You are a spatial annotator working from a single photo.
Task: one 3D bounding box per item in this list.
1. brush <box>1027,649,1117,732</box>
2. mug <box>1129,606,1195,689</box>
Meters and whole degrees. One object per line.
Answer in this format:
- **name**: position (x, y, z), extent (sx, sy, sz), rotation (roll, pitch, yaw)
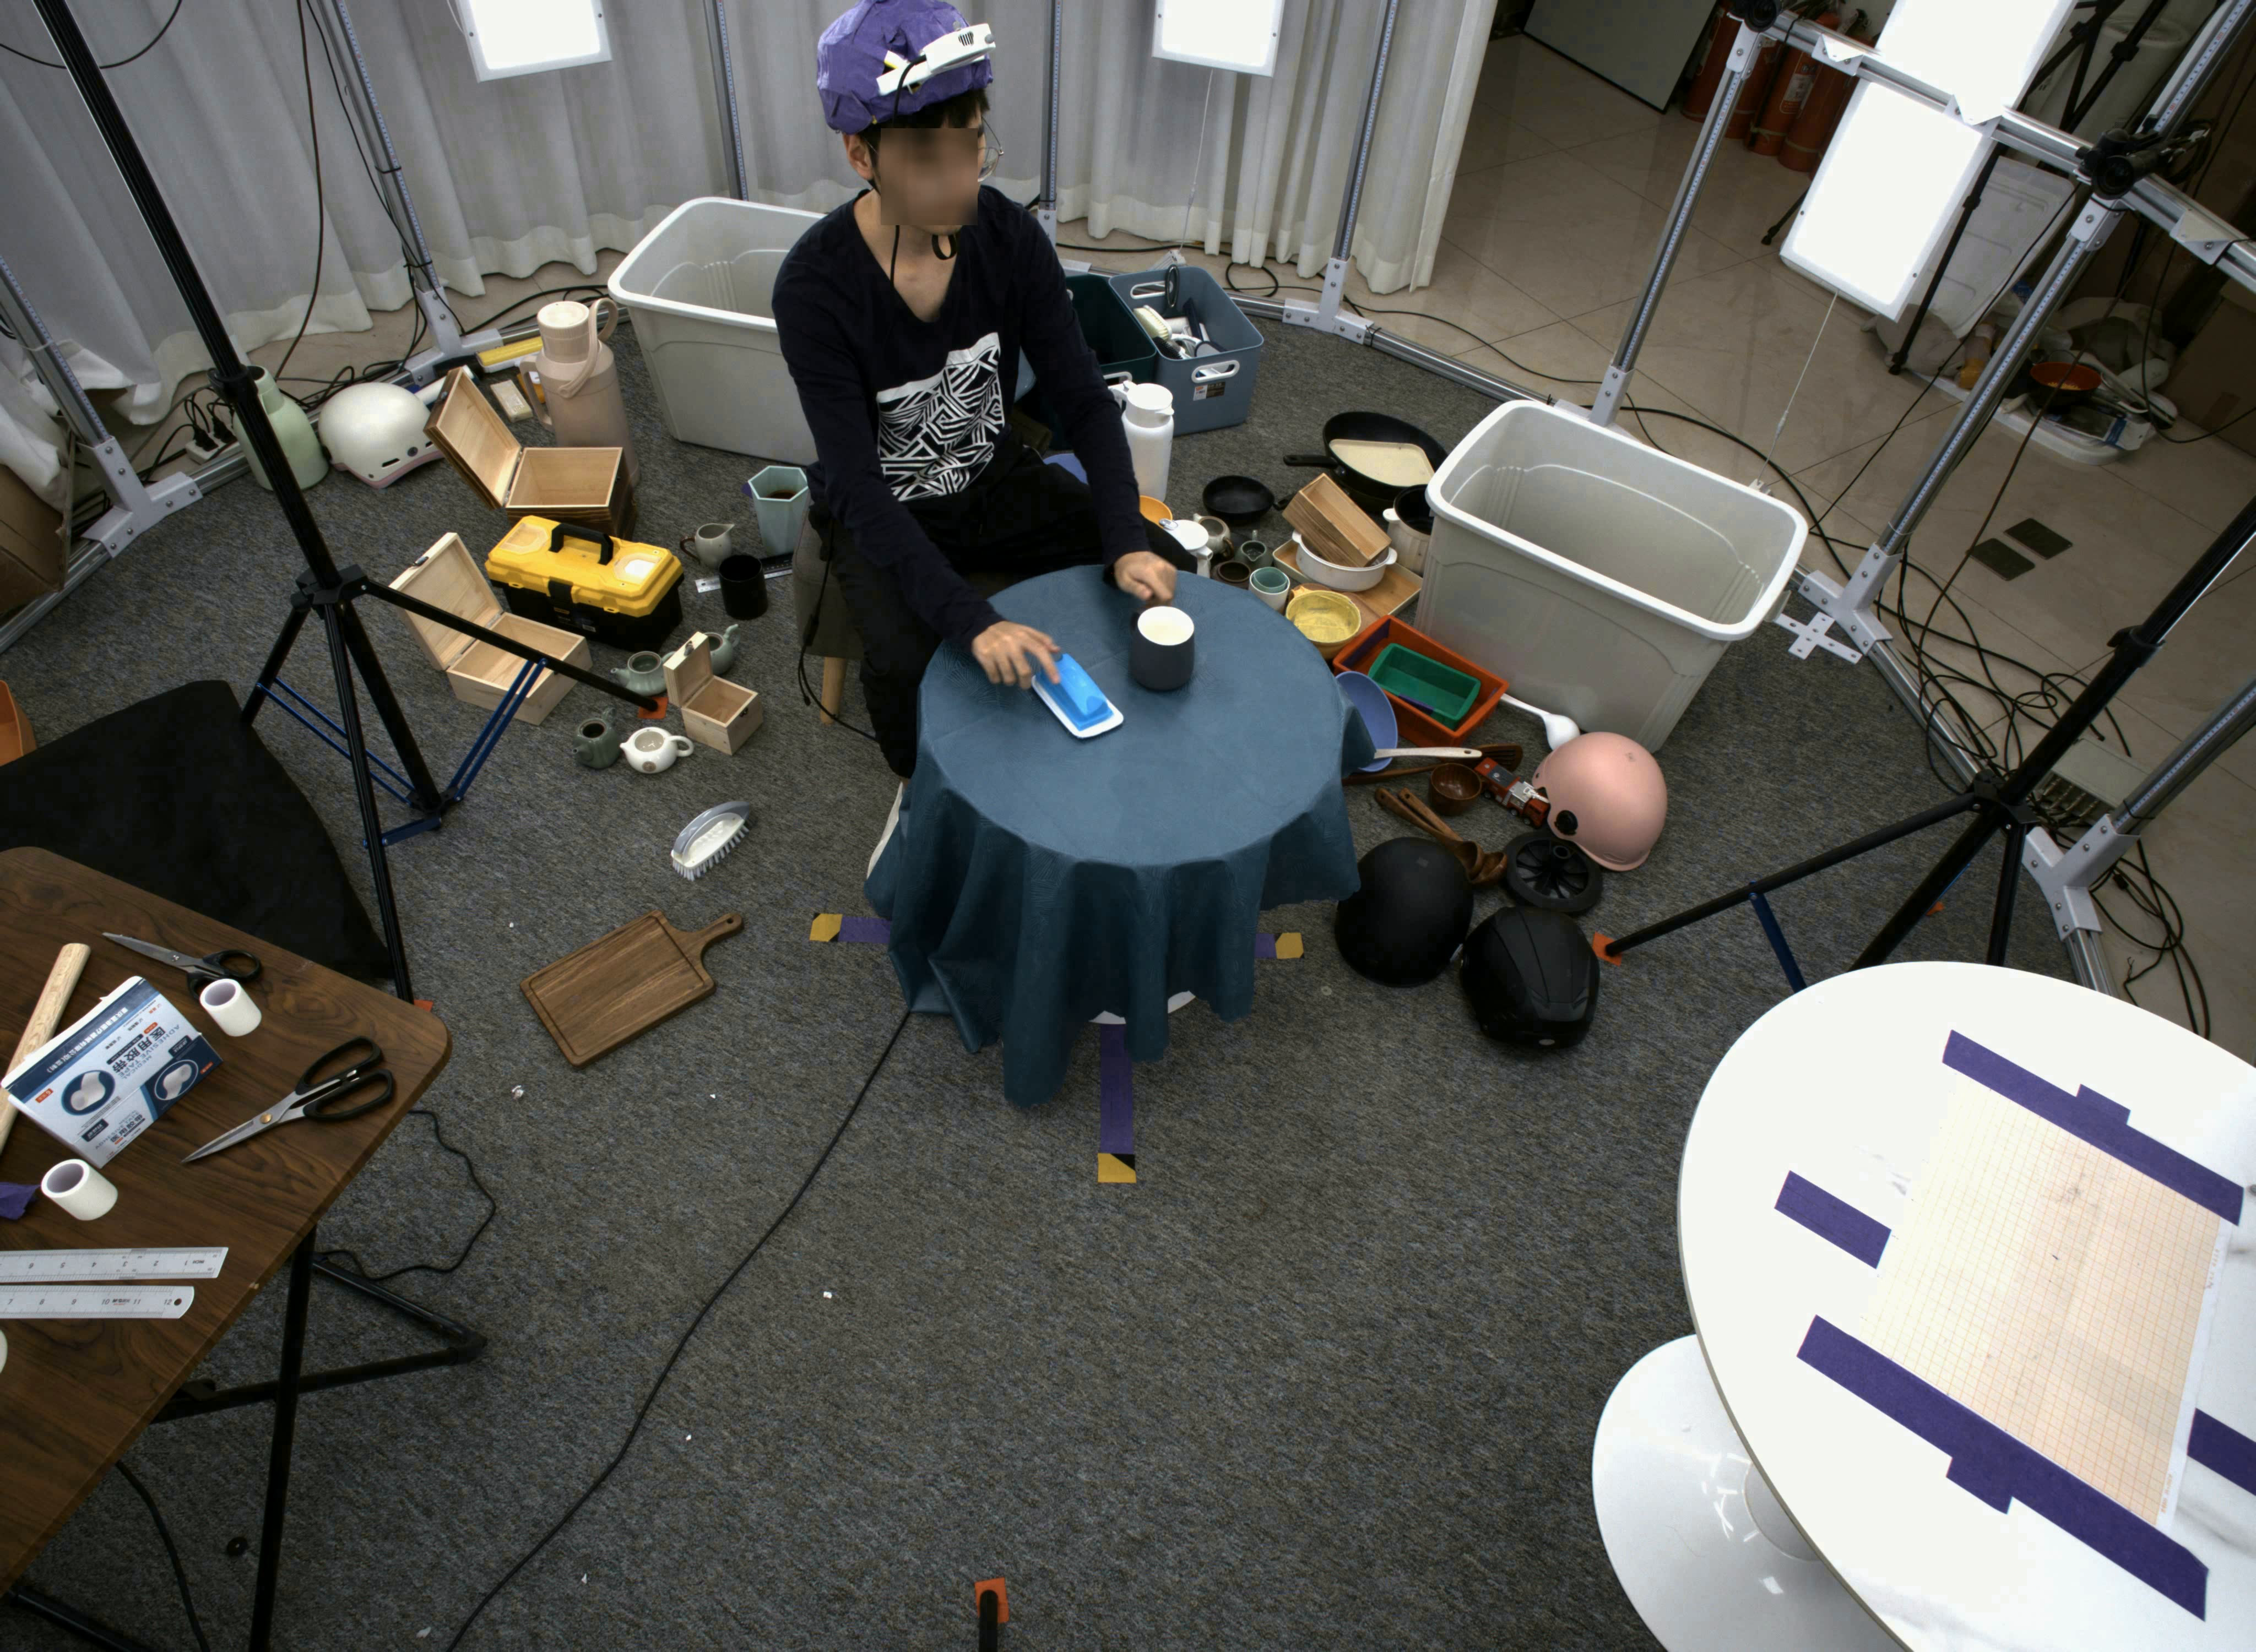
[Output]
- **brush**: position (-0.076, -0.196, 1.794), extent (0.084, 0.054, 0.147), rotation (-20, 55, -24)
- **mug**: position (0.043, -0.265, 1.839), extent (0.094, 0.088, 0.126), rotation (-22, 55, -23)
